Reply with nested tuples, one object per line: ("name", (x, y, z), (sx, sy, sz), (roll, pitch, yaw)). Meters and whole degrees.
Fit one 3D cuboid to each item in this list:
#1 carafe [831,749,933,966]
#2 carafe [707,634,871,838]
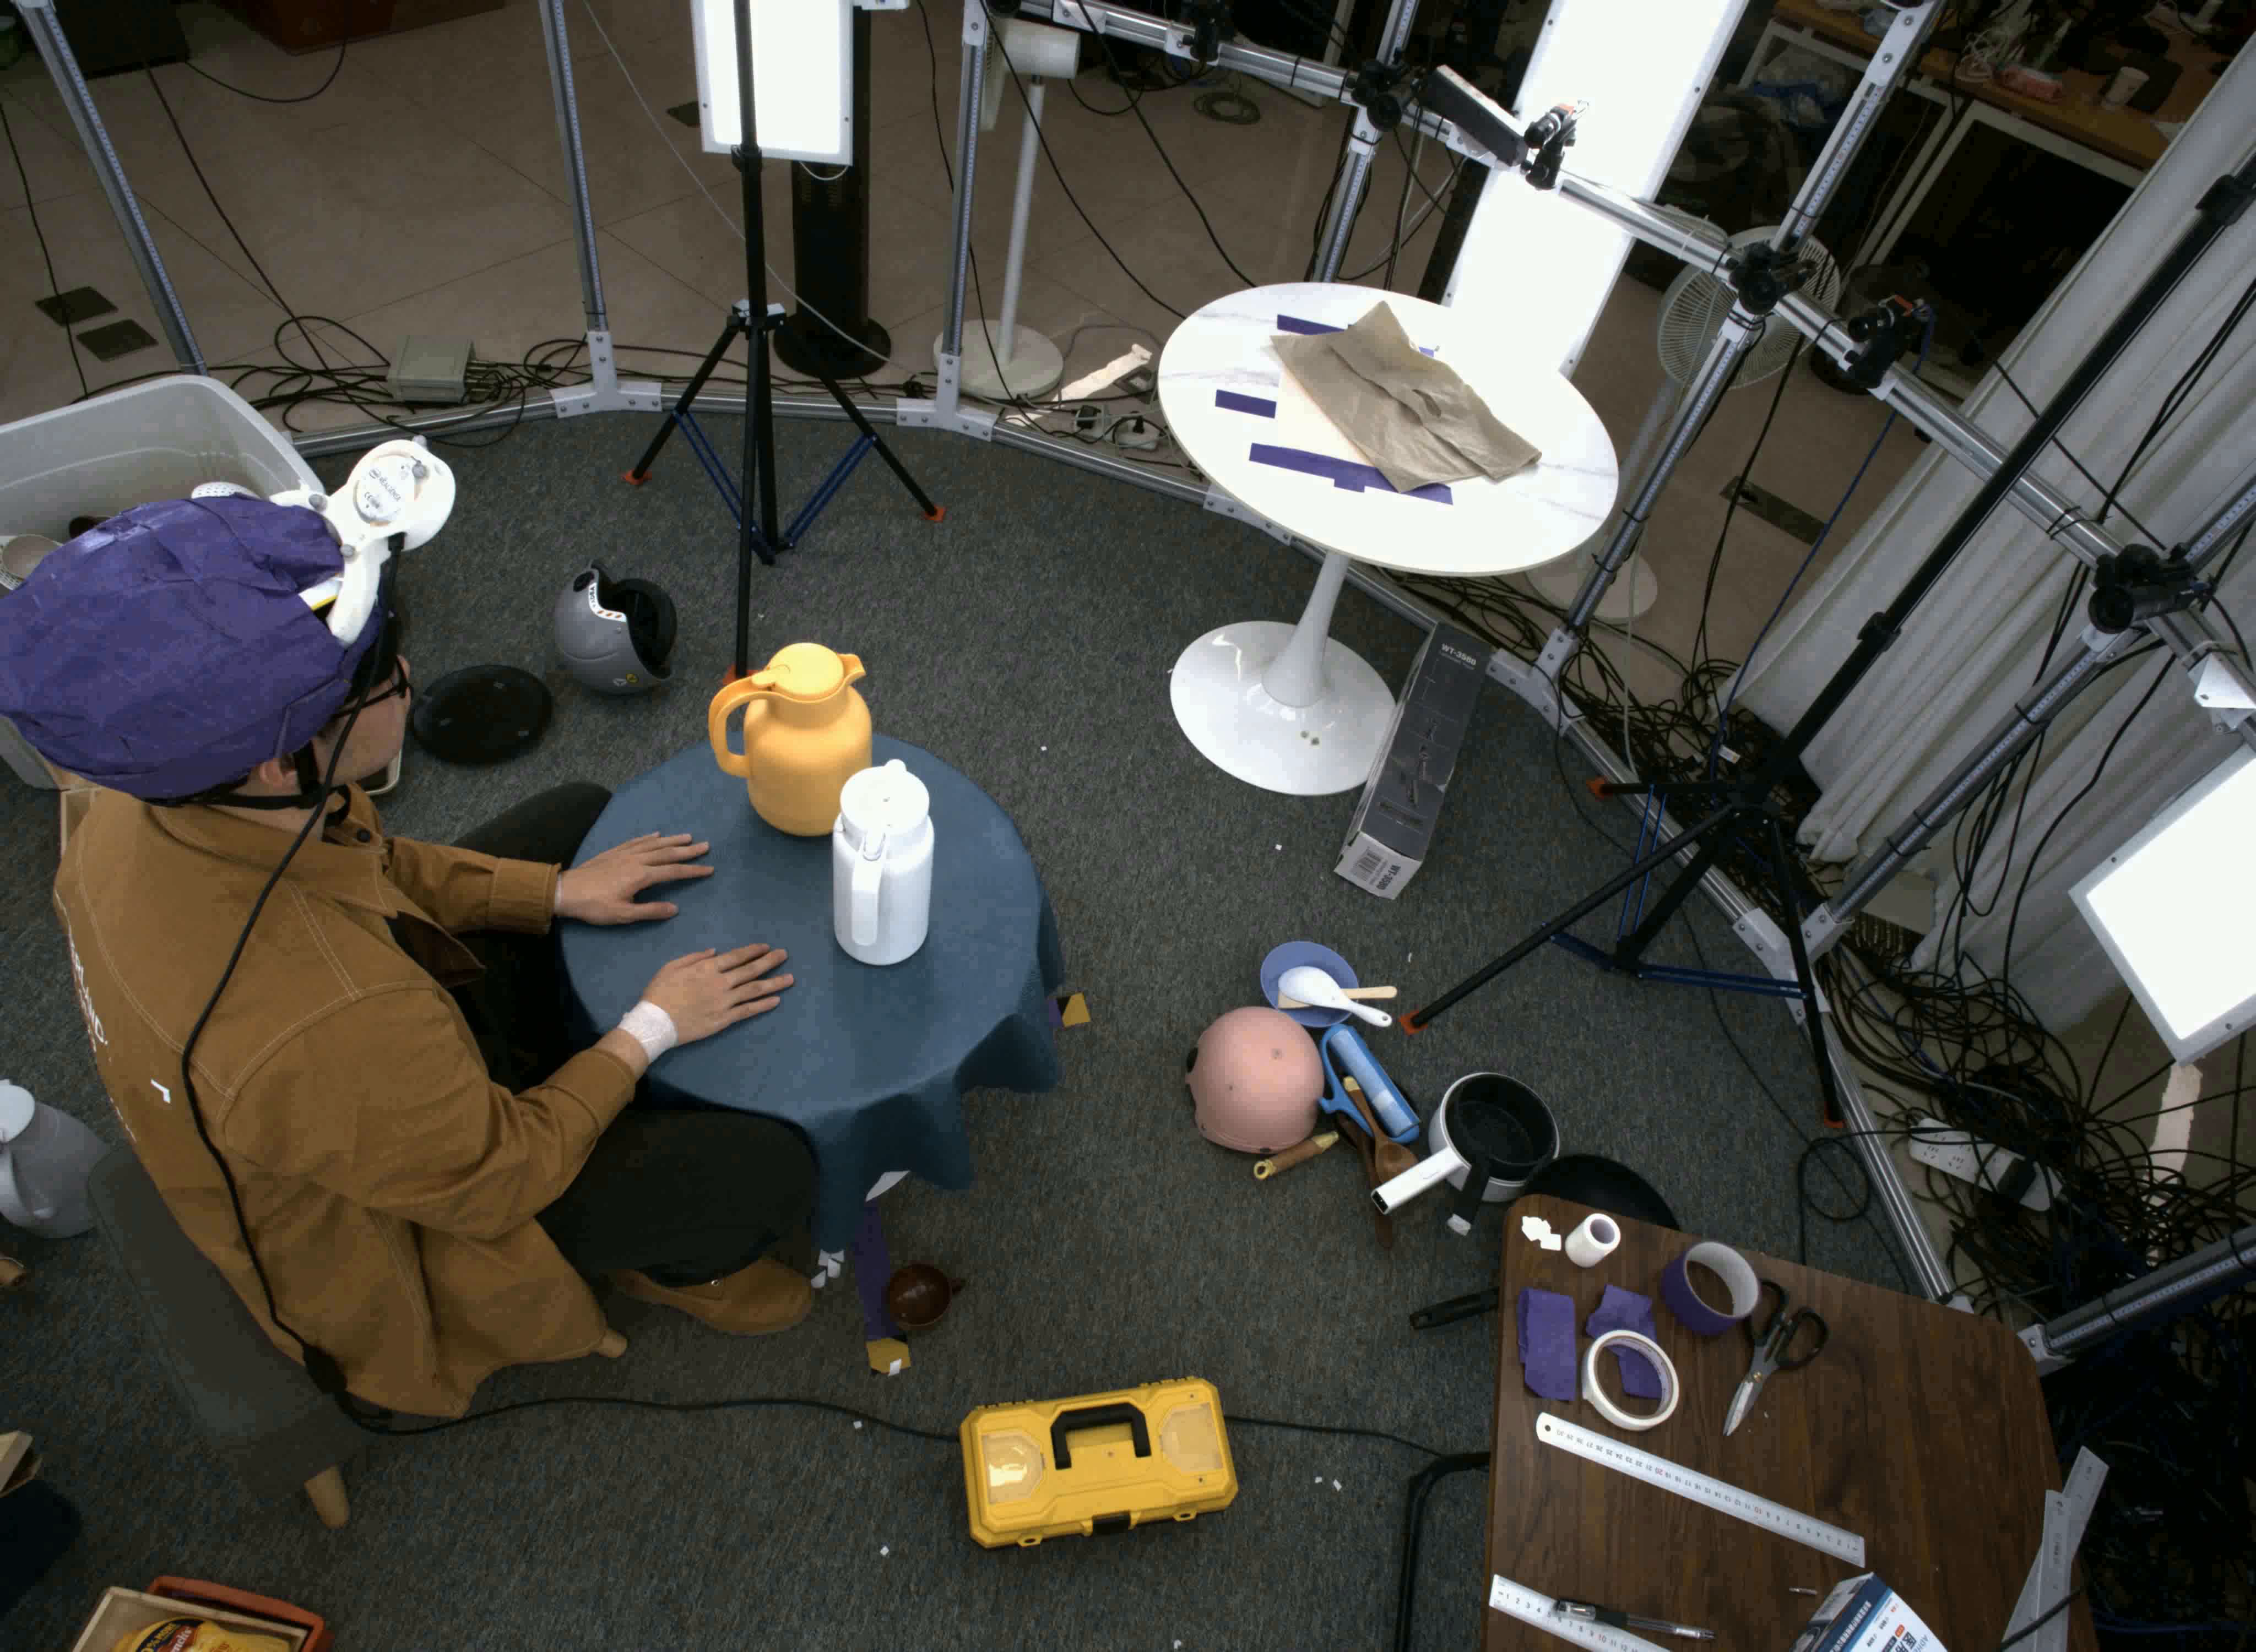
("carafe", (-0.293, 0.060, 1.537), (0.123, 0.274, 0.170), (10, 51, -6))
("carafe", (-0.426, -0.116, 1.637), (0.203, 0.266, 0.159), (-13, 53, -23))
